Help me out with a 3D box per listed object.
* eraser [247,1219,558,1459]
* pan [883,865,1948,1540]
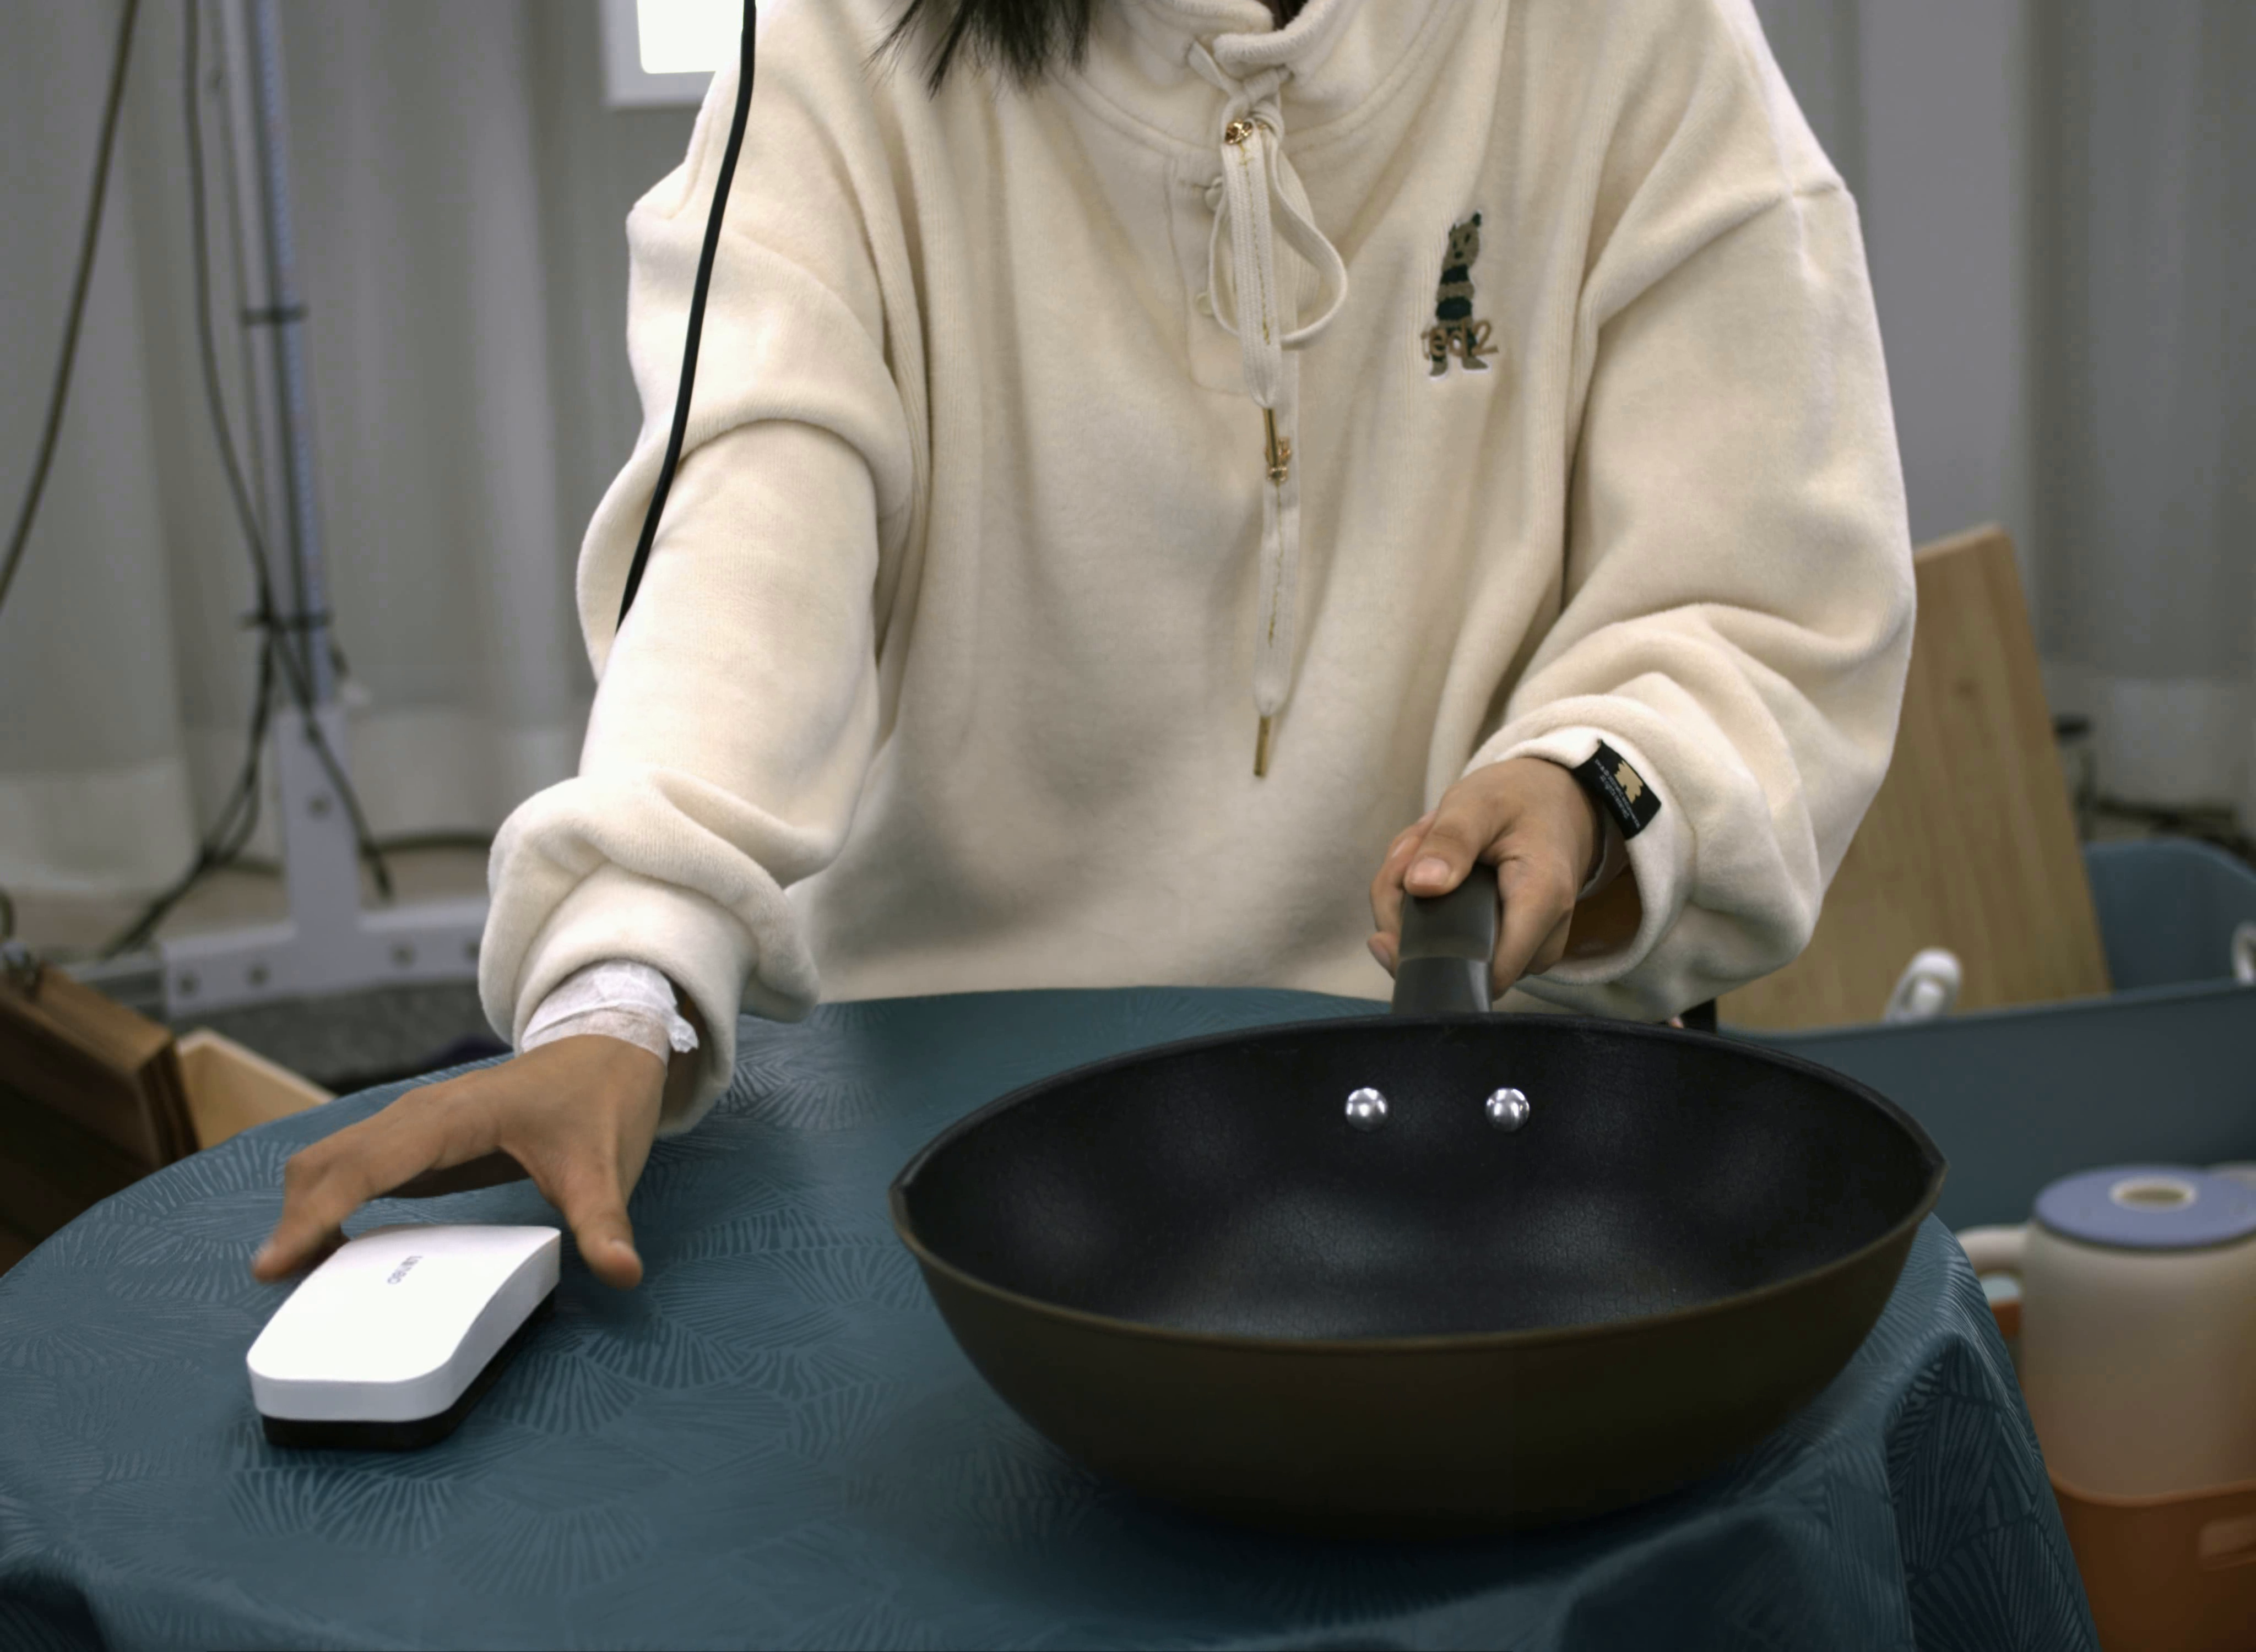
[{"bbox_3d":[-0.207,0.144,1.585,0.063,0.034,0.132,3,16,11],"label":"eraser"},{"bbox_3d":[0.087,0.105,1.571,0.287,0.086,0.466,-1,14,7],"label":"pan"}]
